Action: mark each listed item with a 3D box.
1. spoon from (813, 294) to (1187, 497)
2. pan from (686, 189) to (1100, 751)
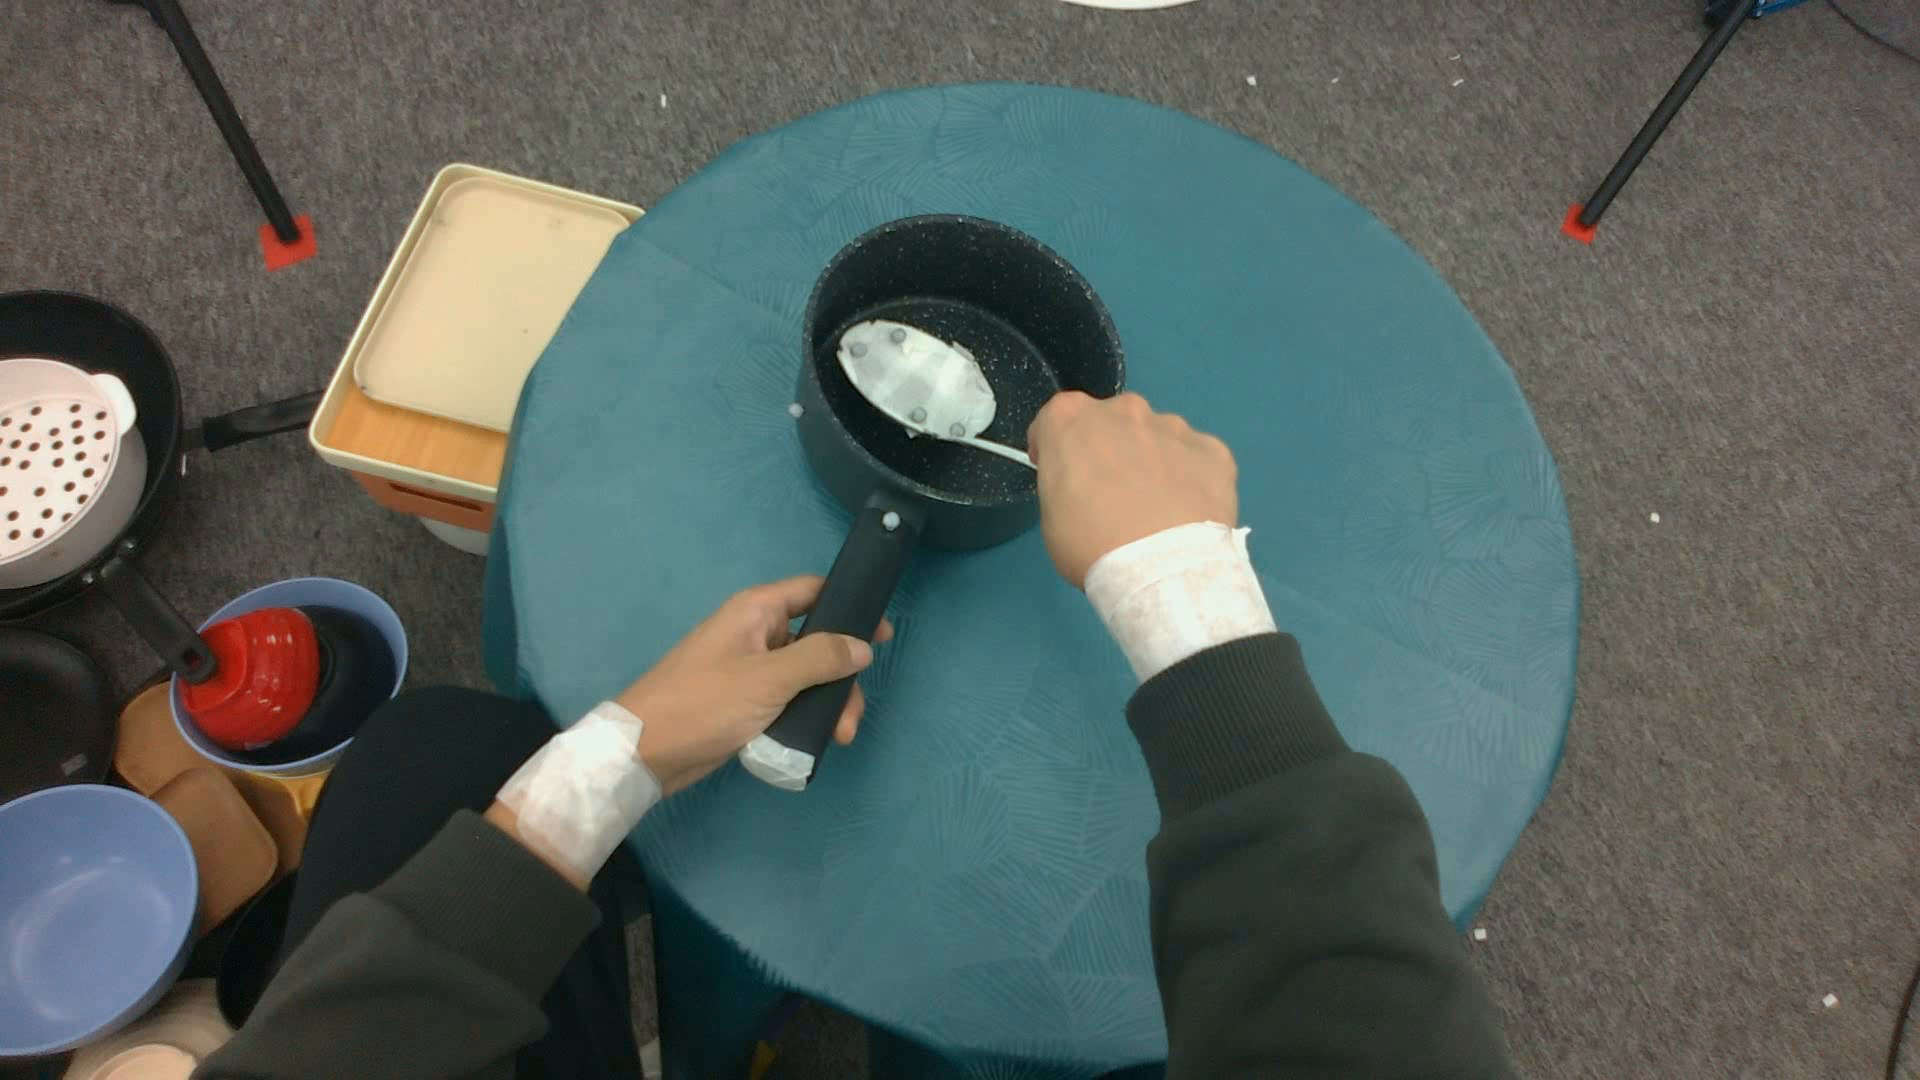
[{"bbox_3d":[0.015,-0.077,0.665,0.101,0.277,0.059,3,102,-34],"label":"spoon"},{"bbox_3d":[-0.047,-0.032,0.699,0.172,0.086,0.330,26,62,-2],"label":"pan"}]
